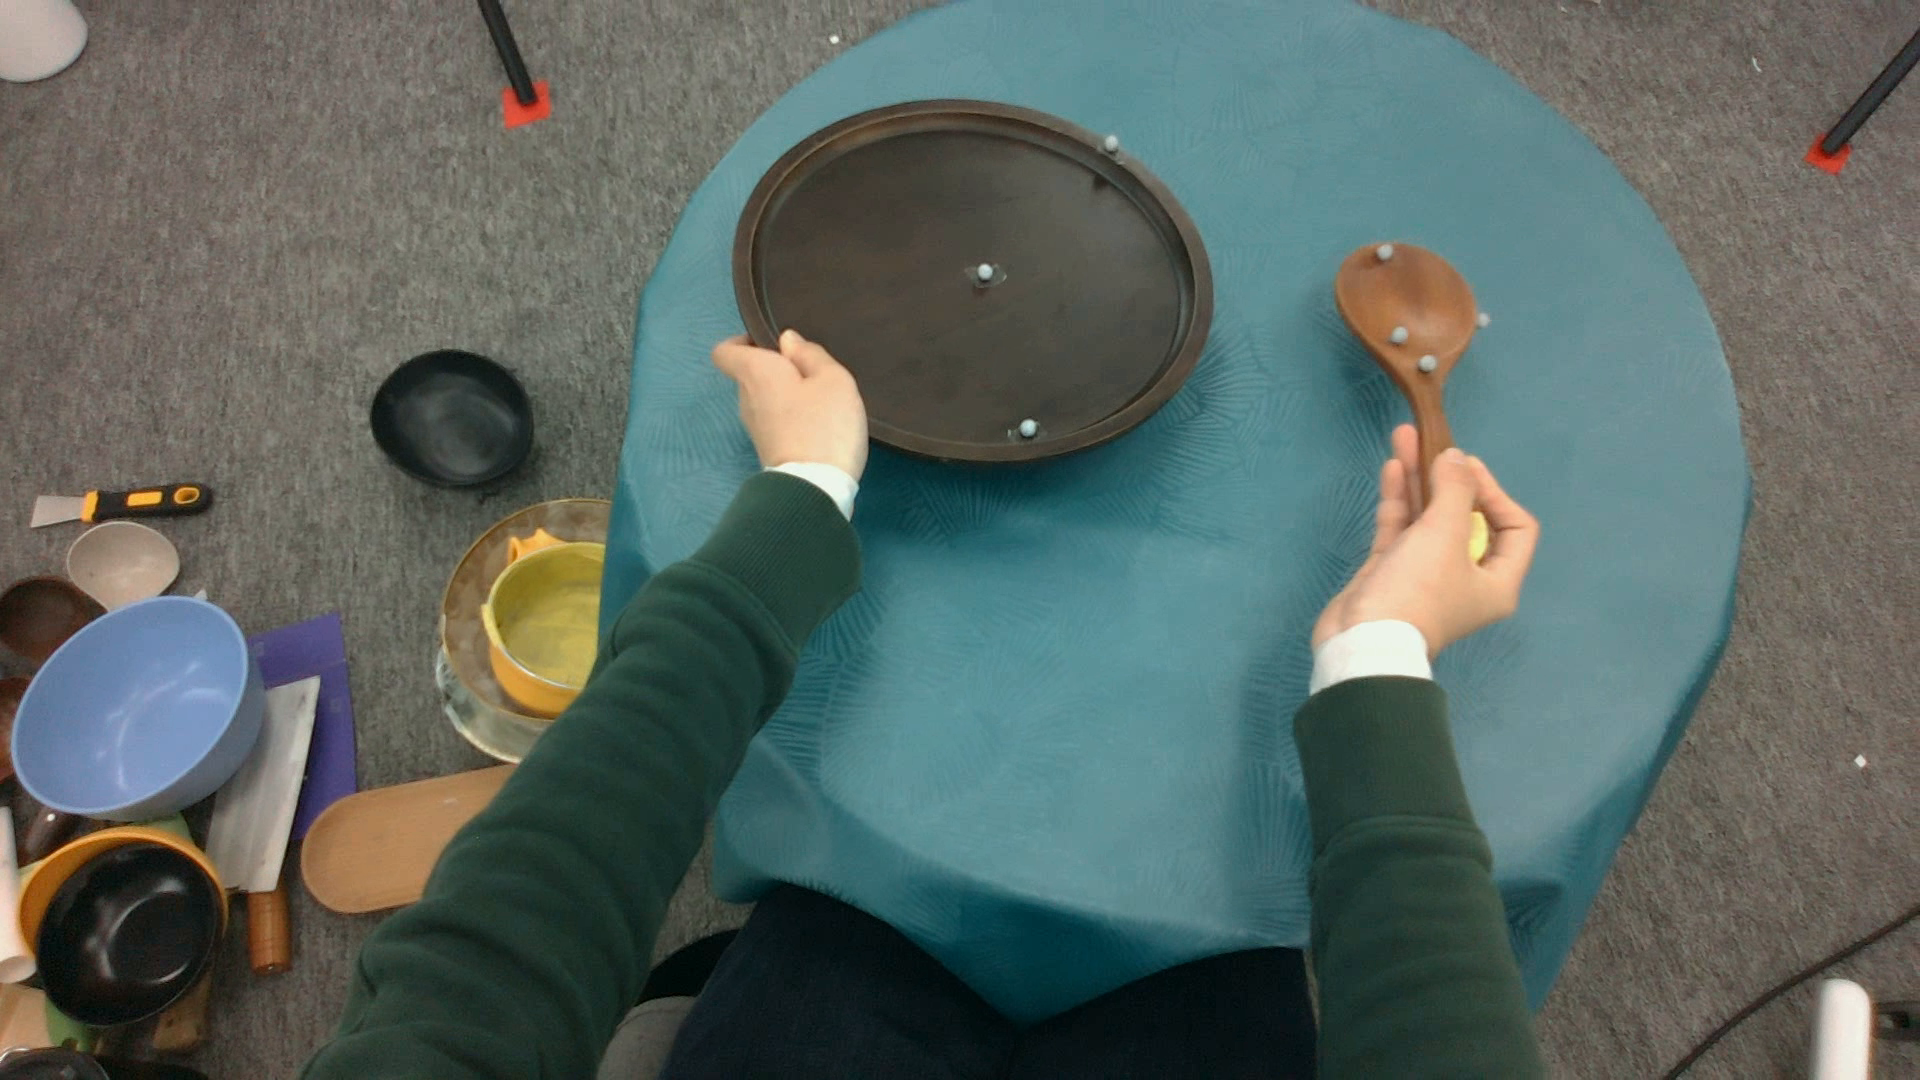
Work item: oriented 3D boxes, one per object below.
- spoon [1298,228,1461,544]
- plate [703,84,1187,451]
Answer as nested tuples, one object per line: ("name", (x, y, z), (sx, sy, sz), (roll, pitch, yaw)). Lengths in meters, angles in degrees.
("spoon", (0.215, -0.084, 0.691), (0.075, 0.017, 0.217), (4, 50, -5))
("plate", (-0.007, -0.149, 0.726), (0.255, 0.029, 0.256), (3, 56, -5))
